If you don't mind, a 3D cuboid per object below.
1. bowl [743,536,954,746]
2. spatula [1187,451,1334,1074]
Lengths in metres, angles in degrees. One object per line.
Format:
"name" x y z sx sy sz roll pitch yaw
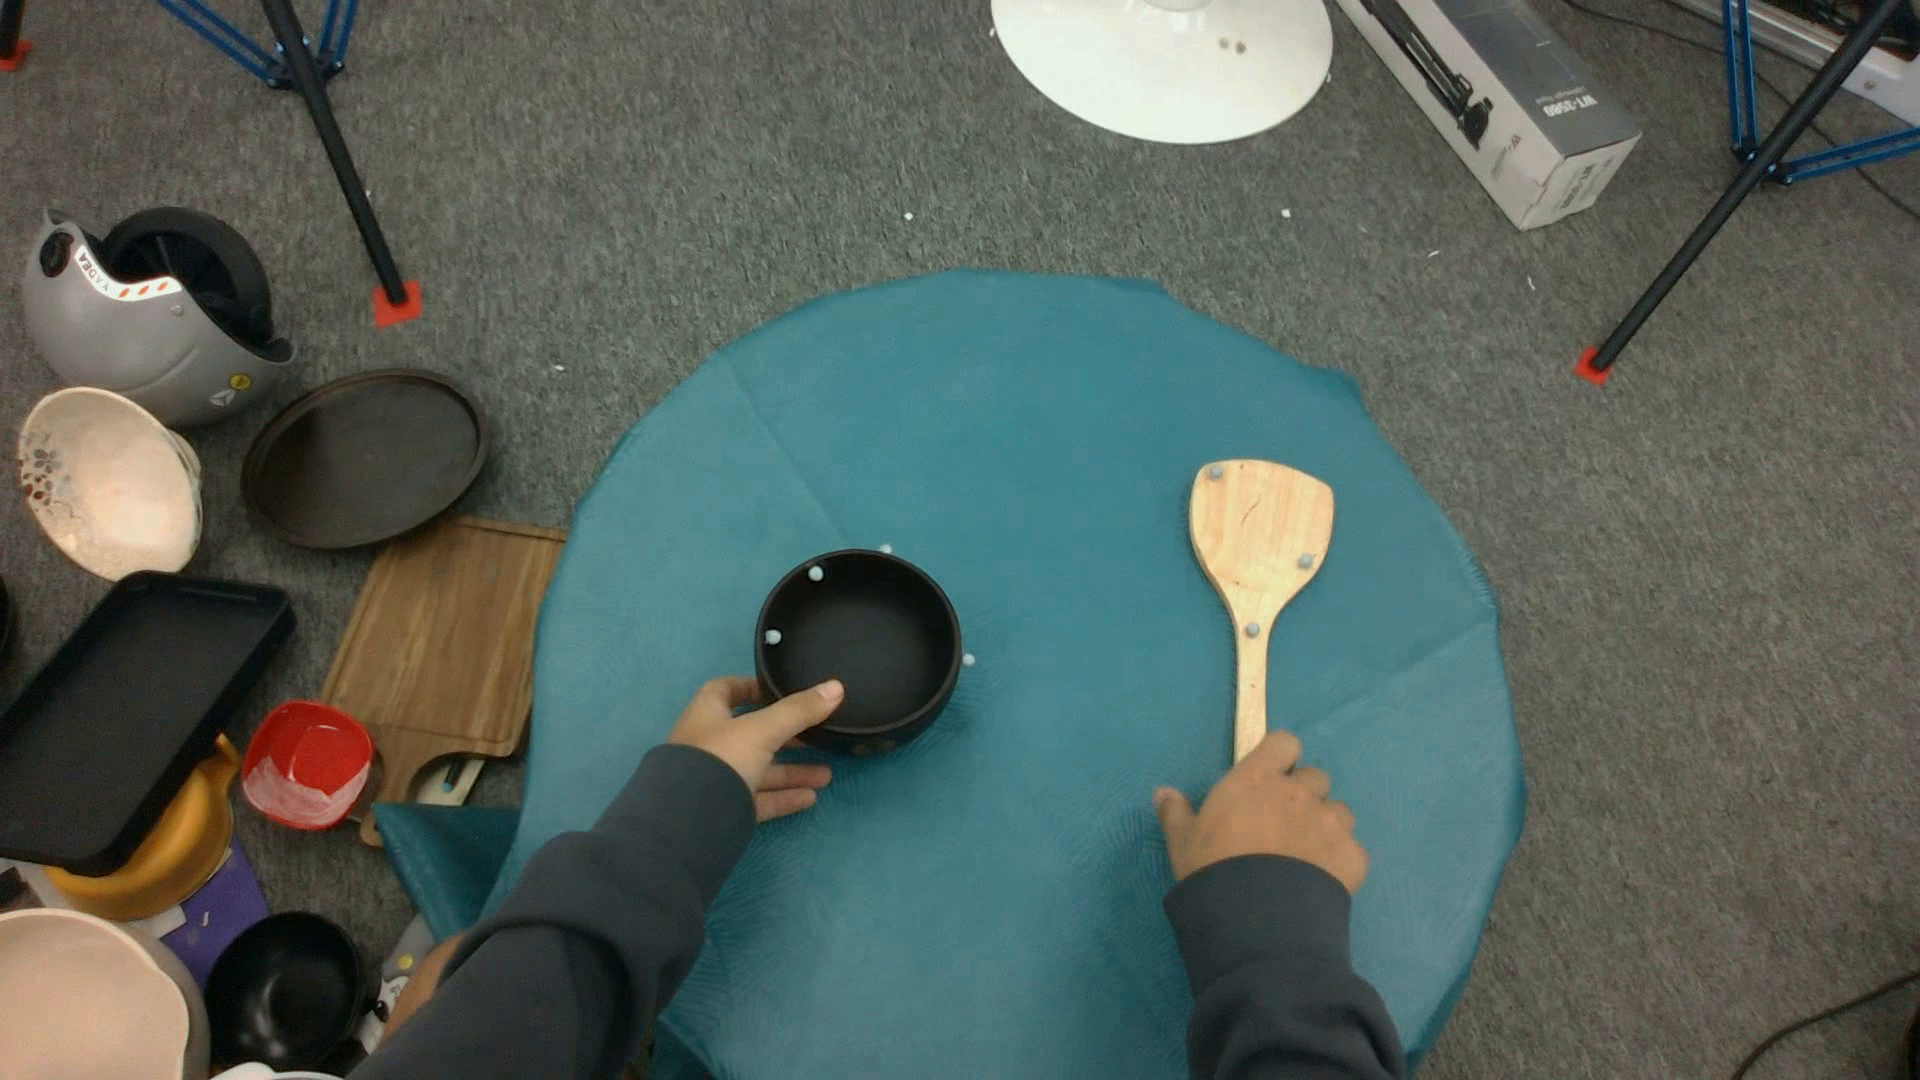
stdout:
"bowl" -0.064 0.064 0.789 0.118 0.069 0.118 3 62 -5
"spatula" 0.175 0.113 0.822 0.096 0.018 0.392 9 60 0
